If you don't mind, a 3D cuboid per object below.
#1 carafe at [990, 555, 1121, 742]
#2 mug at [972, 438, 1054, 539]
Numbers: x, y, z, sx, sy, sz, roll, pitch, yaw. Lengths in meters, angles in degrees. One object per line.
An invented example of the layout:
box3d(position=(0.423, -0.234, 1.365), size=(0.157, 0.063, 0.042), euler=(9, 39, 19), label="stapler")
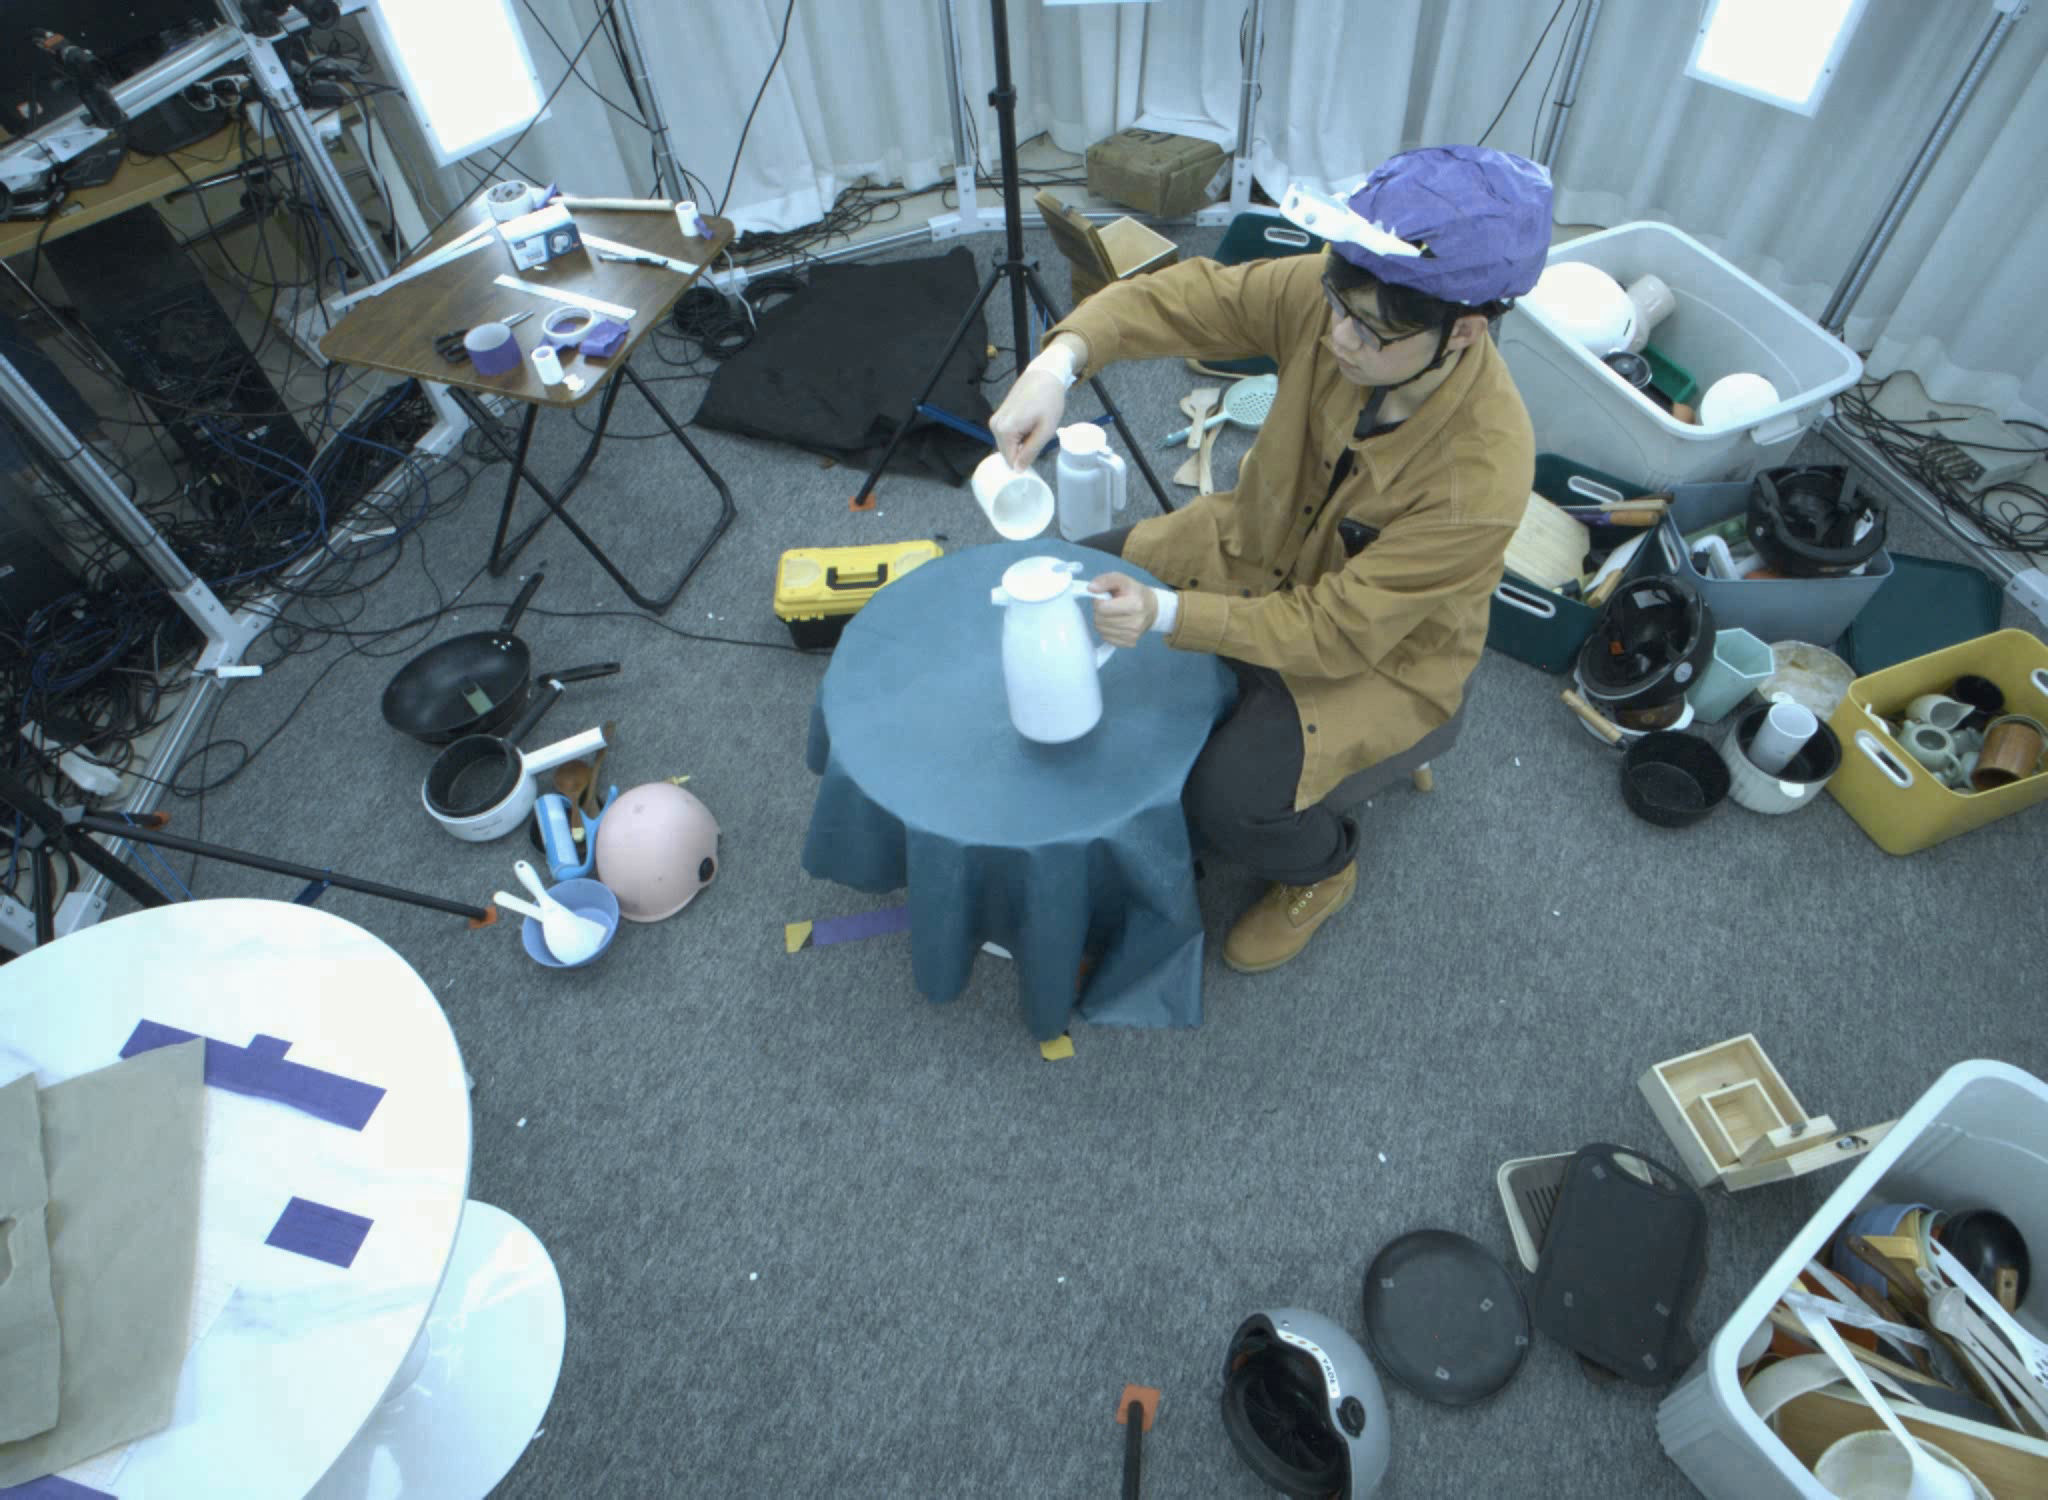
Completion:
box3d(position=(0.049, -0.146, 1.663), size=(0.168, 0.252, 0.130), euler=(-11, 45, -2), label="carafe")
box3d(position=(-0.016, -0.345, 1.569), size=(0.086, 0.119, 0.100), euler=(-6, 34, -16), label="mug")
